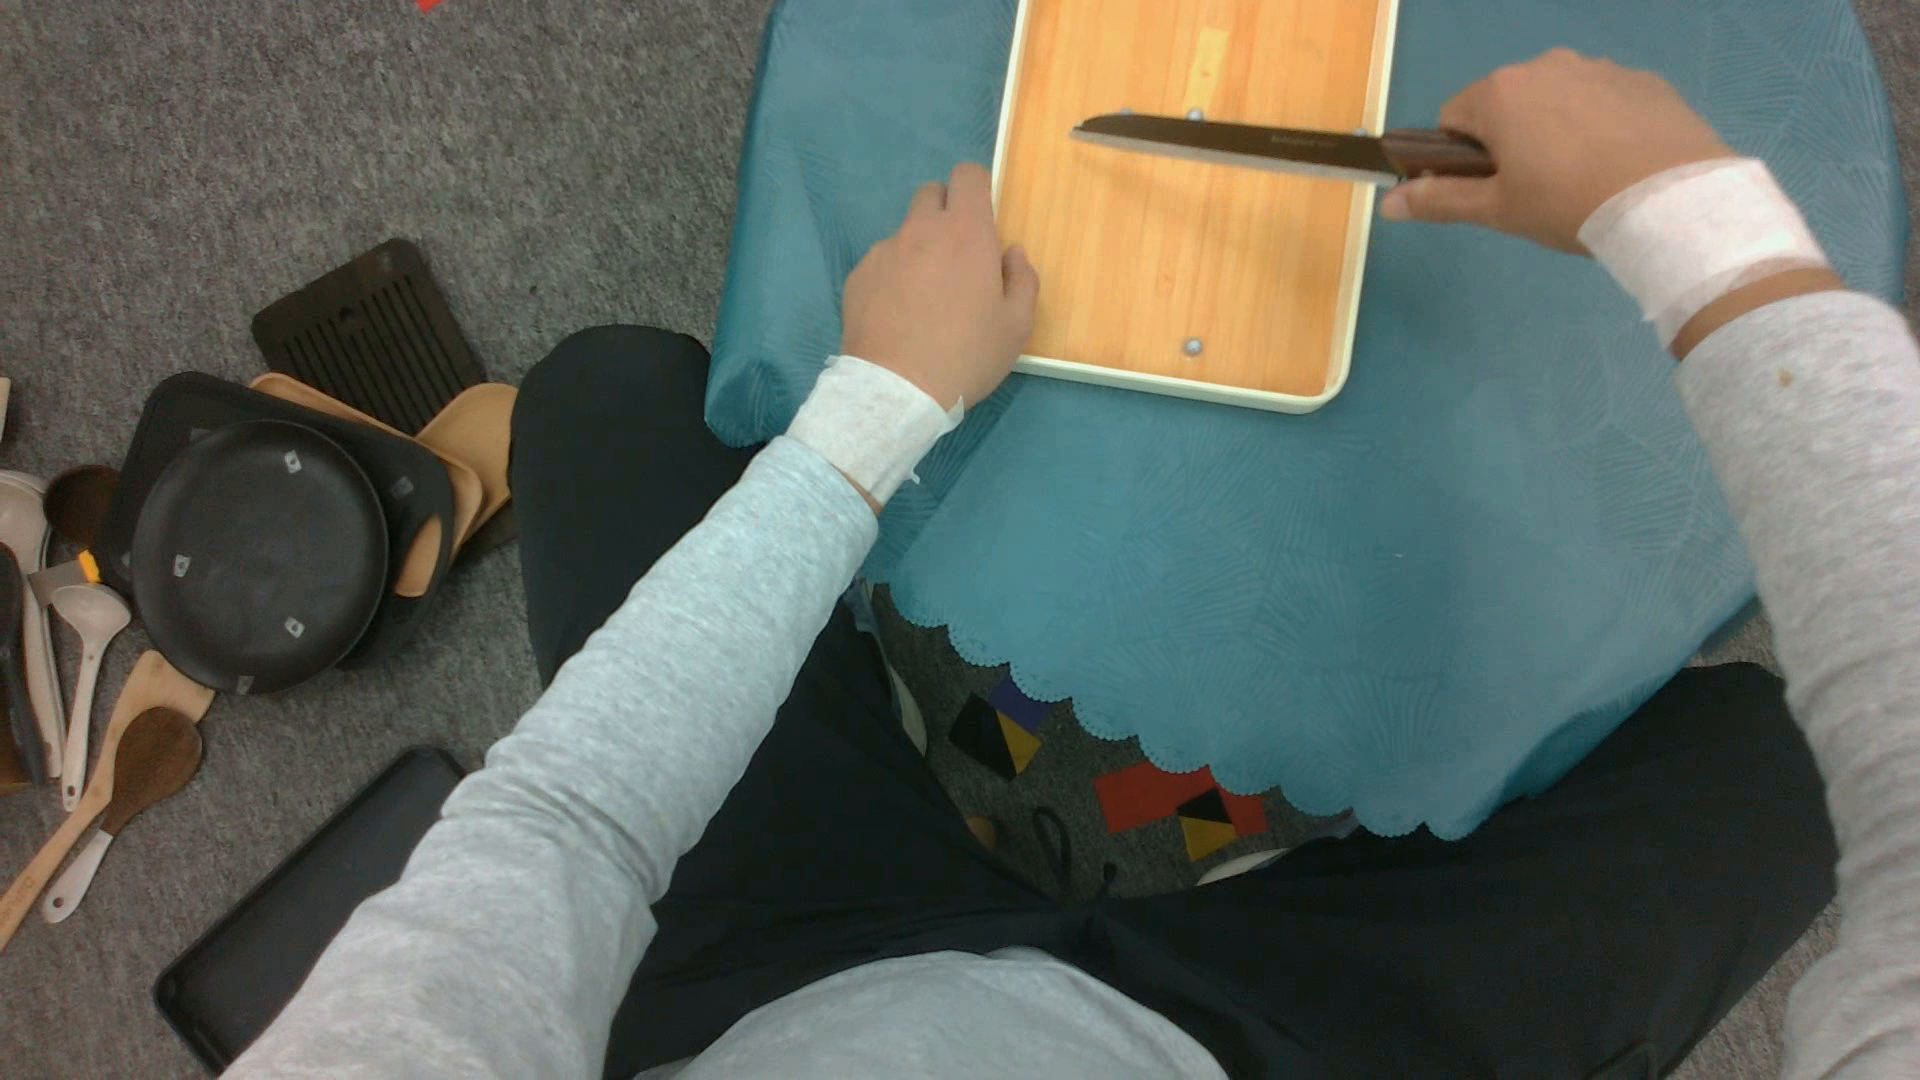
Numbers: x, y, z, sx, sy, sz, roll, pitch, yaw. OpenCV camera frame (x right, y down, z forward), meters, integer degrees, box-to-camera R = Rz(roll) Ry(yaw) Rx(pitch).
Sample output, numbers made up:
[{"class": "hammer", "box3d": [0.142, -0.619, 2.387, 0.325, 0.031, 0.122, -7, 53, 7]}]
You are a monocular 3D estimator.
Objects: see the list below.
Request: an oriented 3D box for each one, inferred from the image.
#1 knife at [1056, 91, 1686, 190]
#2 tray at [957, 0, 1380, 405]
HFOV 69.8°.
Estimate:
[{"class": "knife", "box3d": [0.172, -0.185, 0.630, 0.289, 0.050, 0.020, 13, 80, 28]}, {"class": "tray", "box3d": [0.113, -0.227, 0.715, 0.191, 0.027, 0.300, 9, 82, 2]}]
